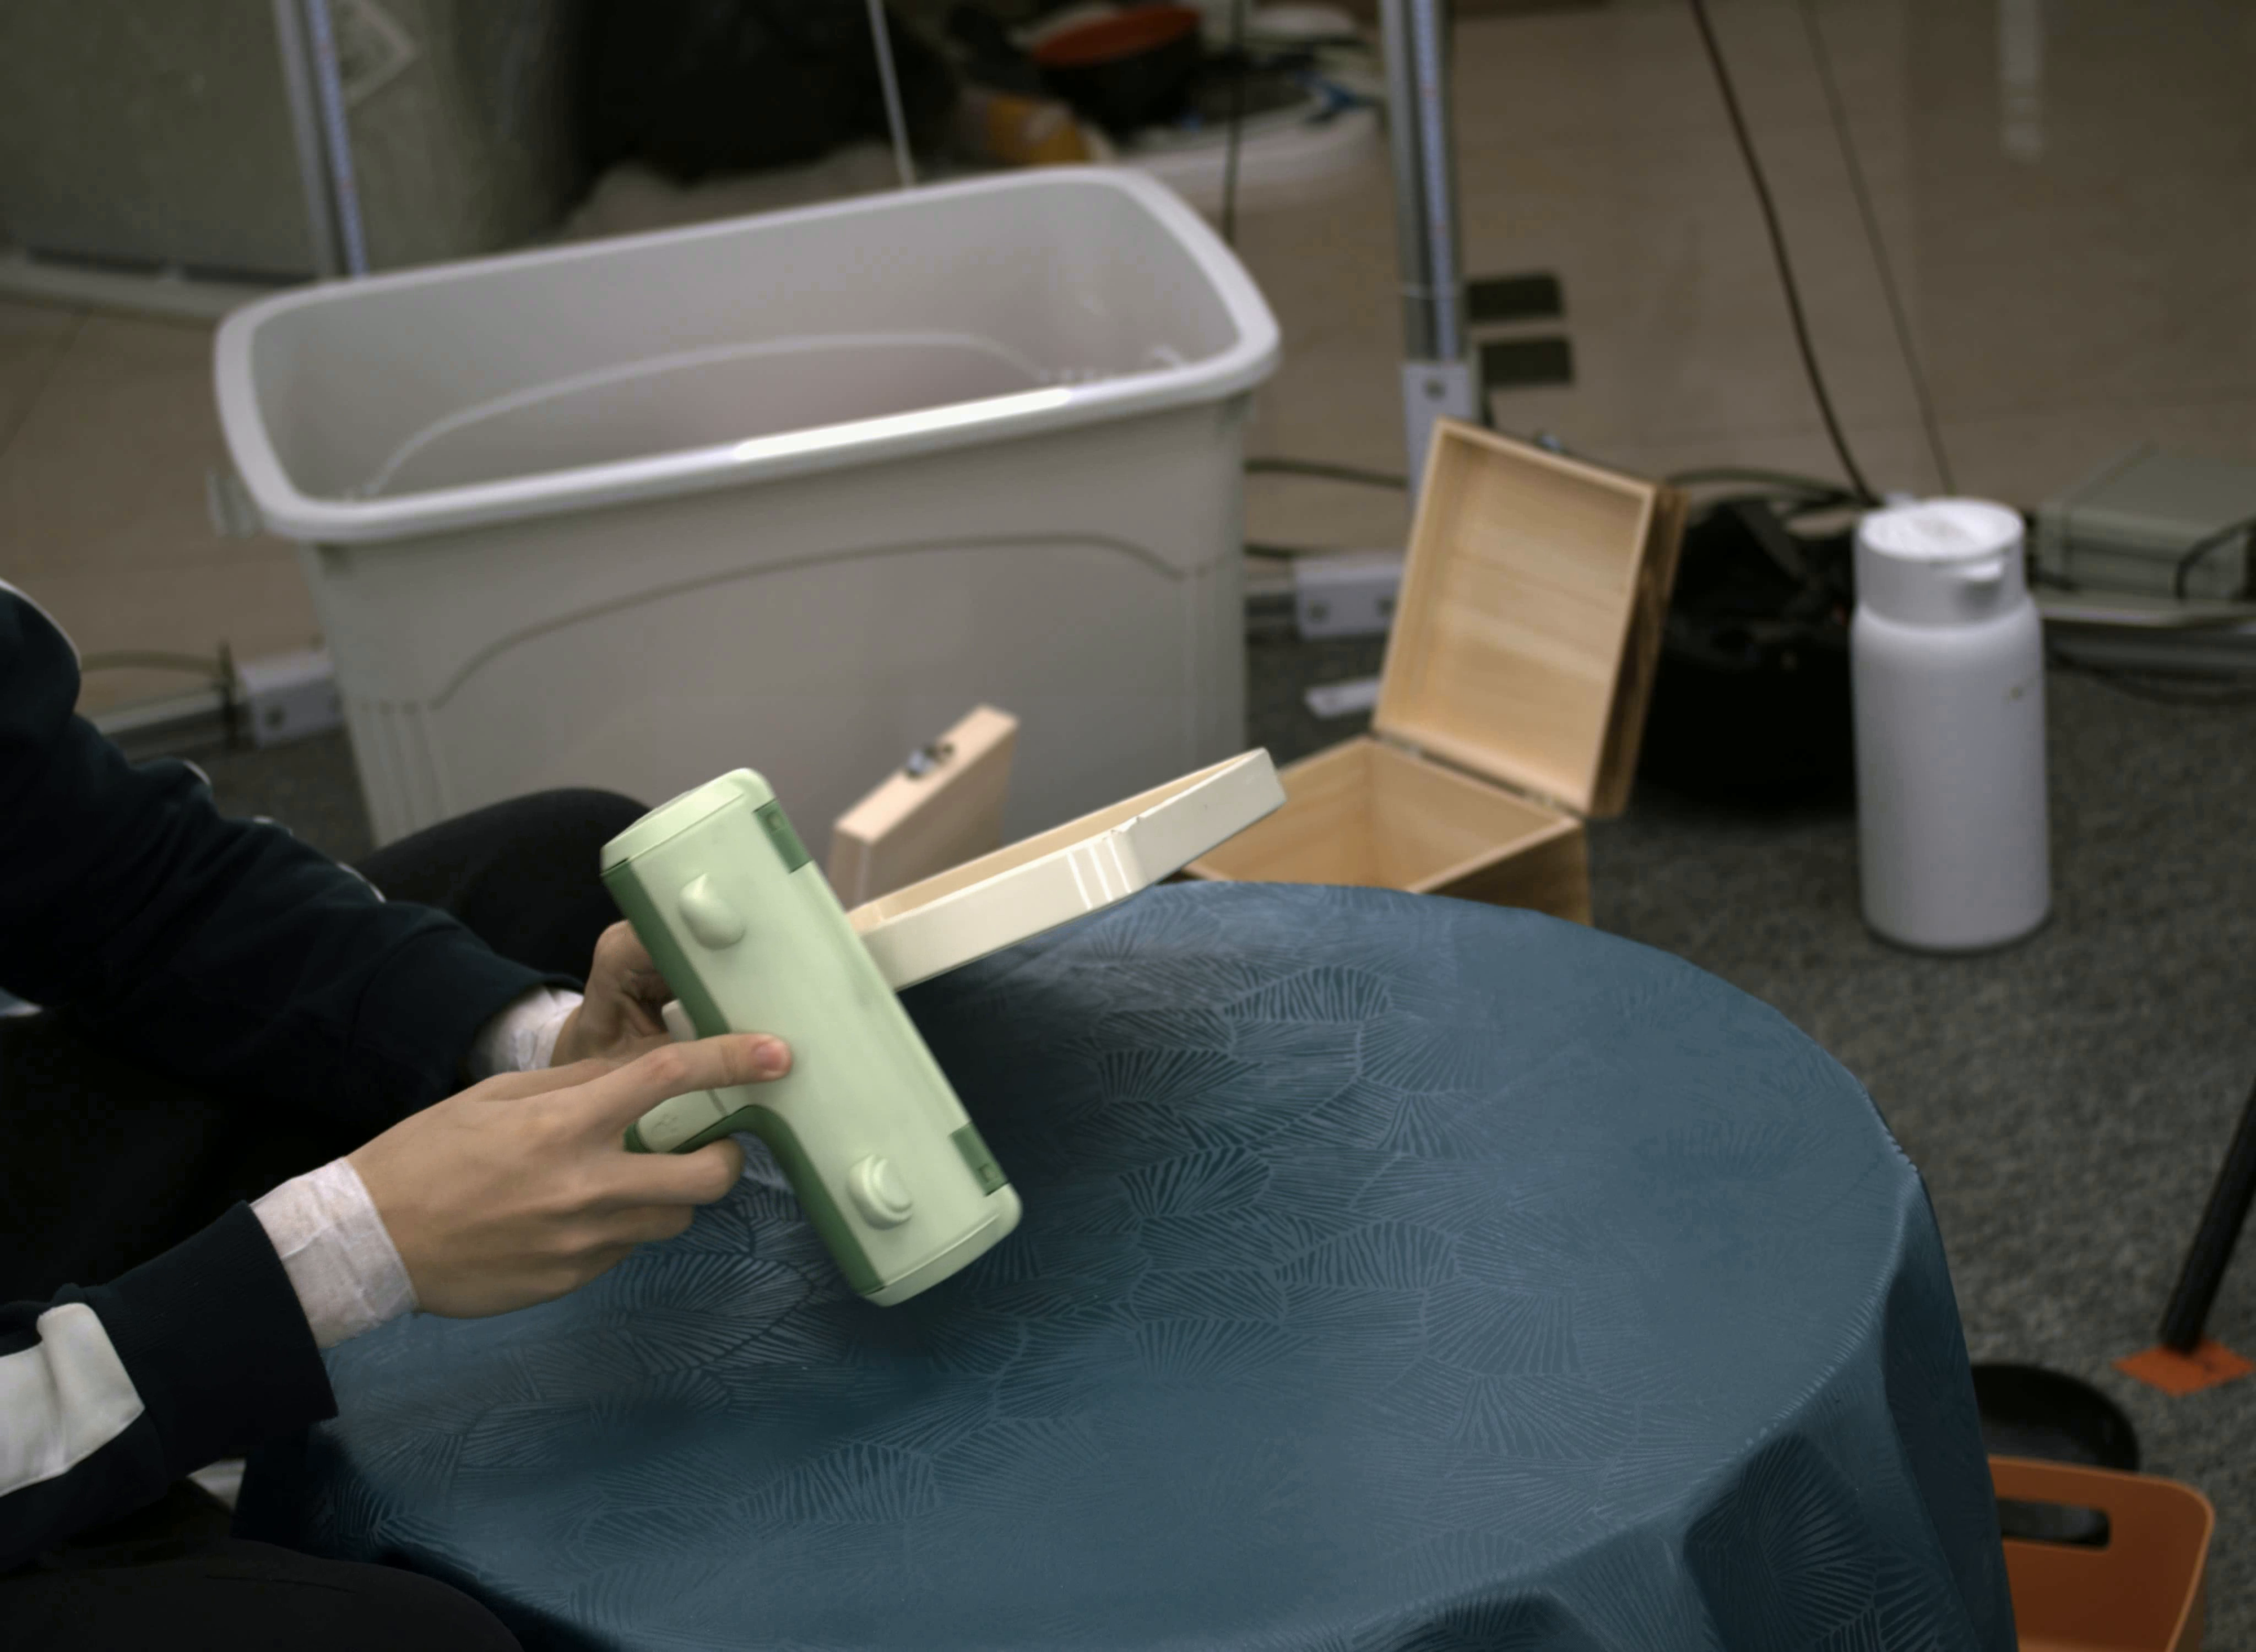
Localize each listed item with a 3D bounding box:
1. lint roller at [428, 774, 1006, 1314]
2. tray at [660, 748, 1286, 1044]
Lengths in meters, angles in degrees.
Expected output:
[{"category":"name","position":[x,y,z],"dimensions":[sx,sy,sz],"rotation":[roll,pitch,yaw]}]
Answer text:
[{"category":"lint roller","position":[-0.166,0.108,2.011],"dimensions":[0.182,0.199,0.082],"rotation":[-32,6,-11]},{"category":"tray","position":[-0.054,0.030,2.189],"dimensions":[0.192,0.027,0.299],"rotation":[-22,1,15]}]
